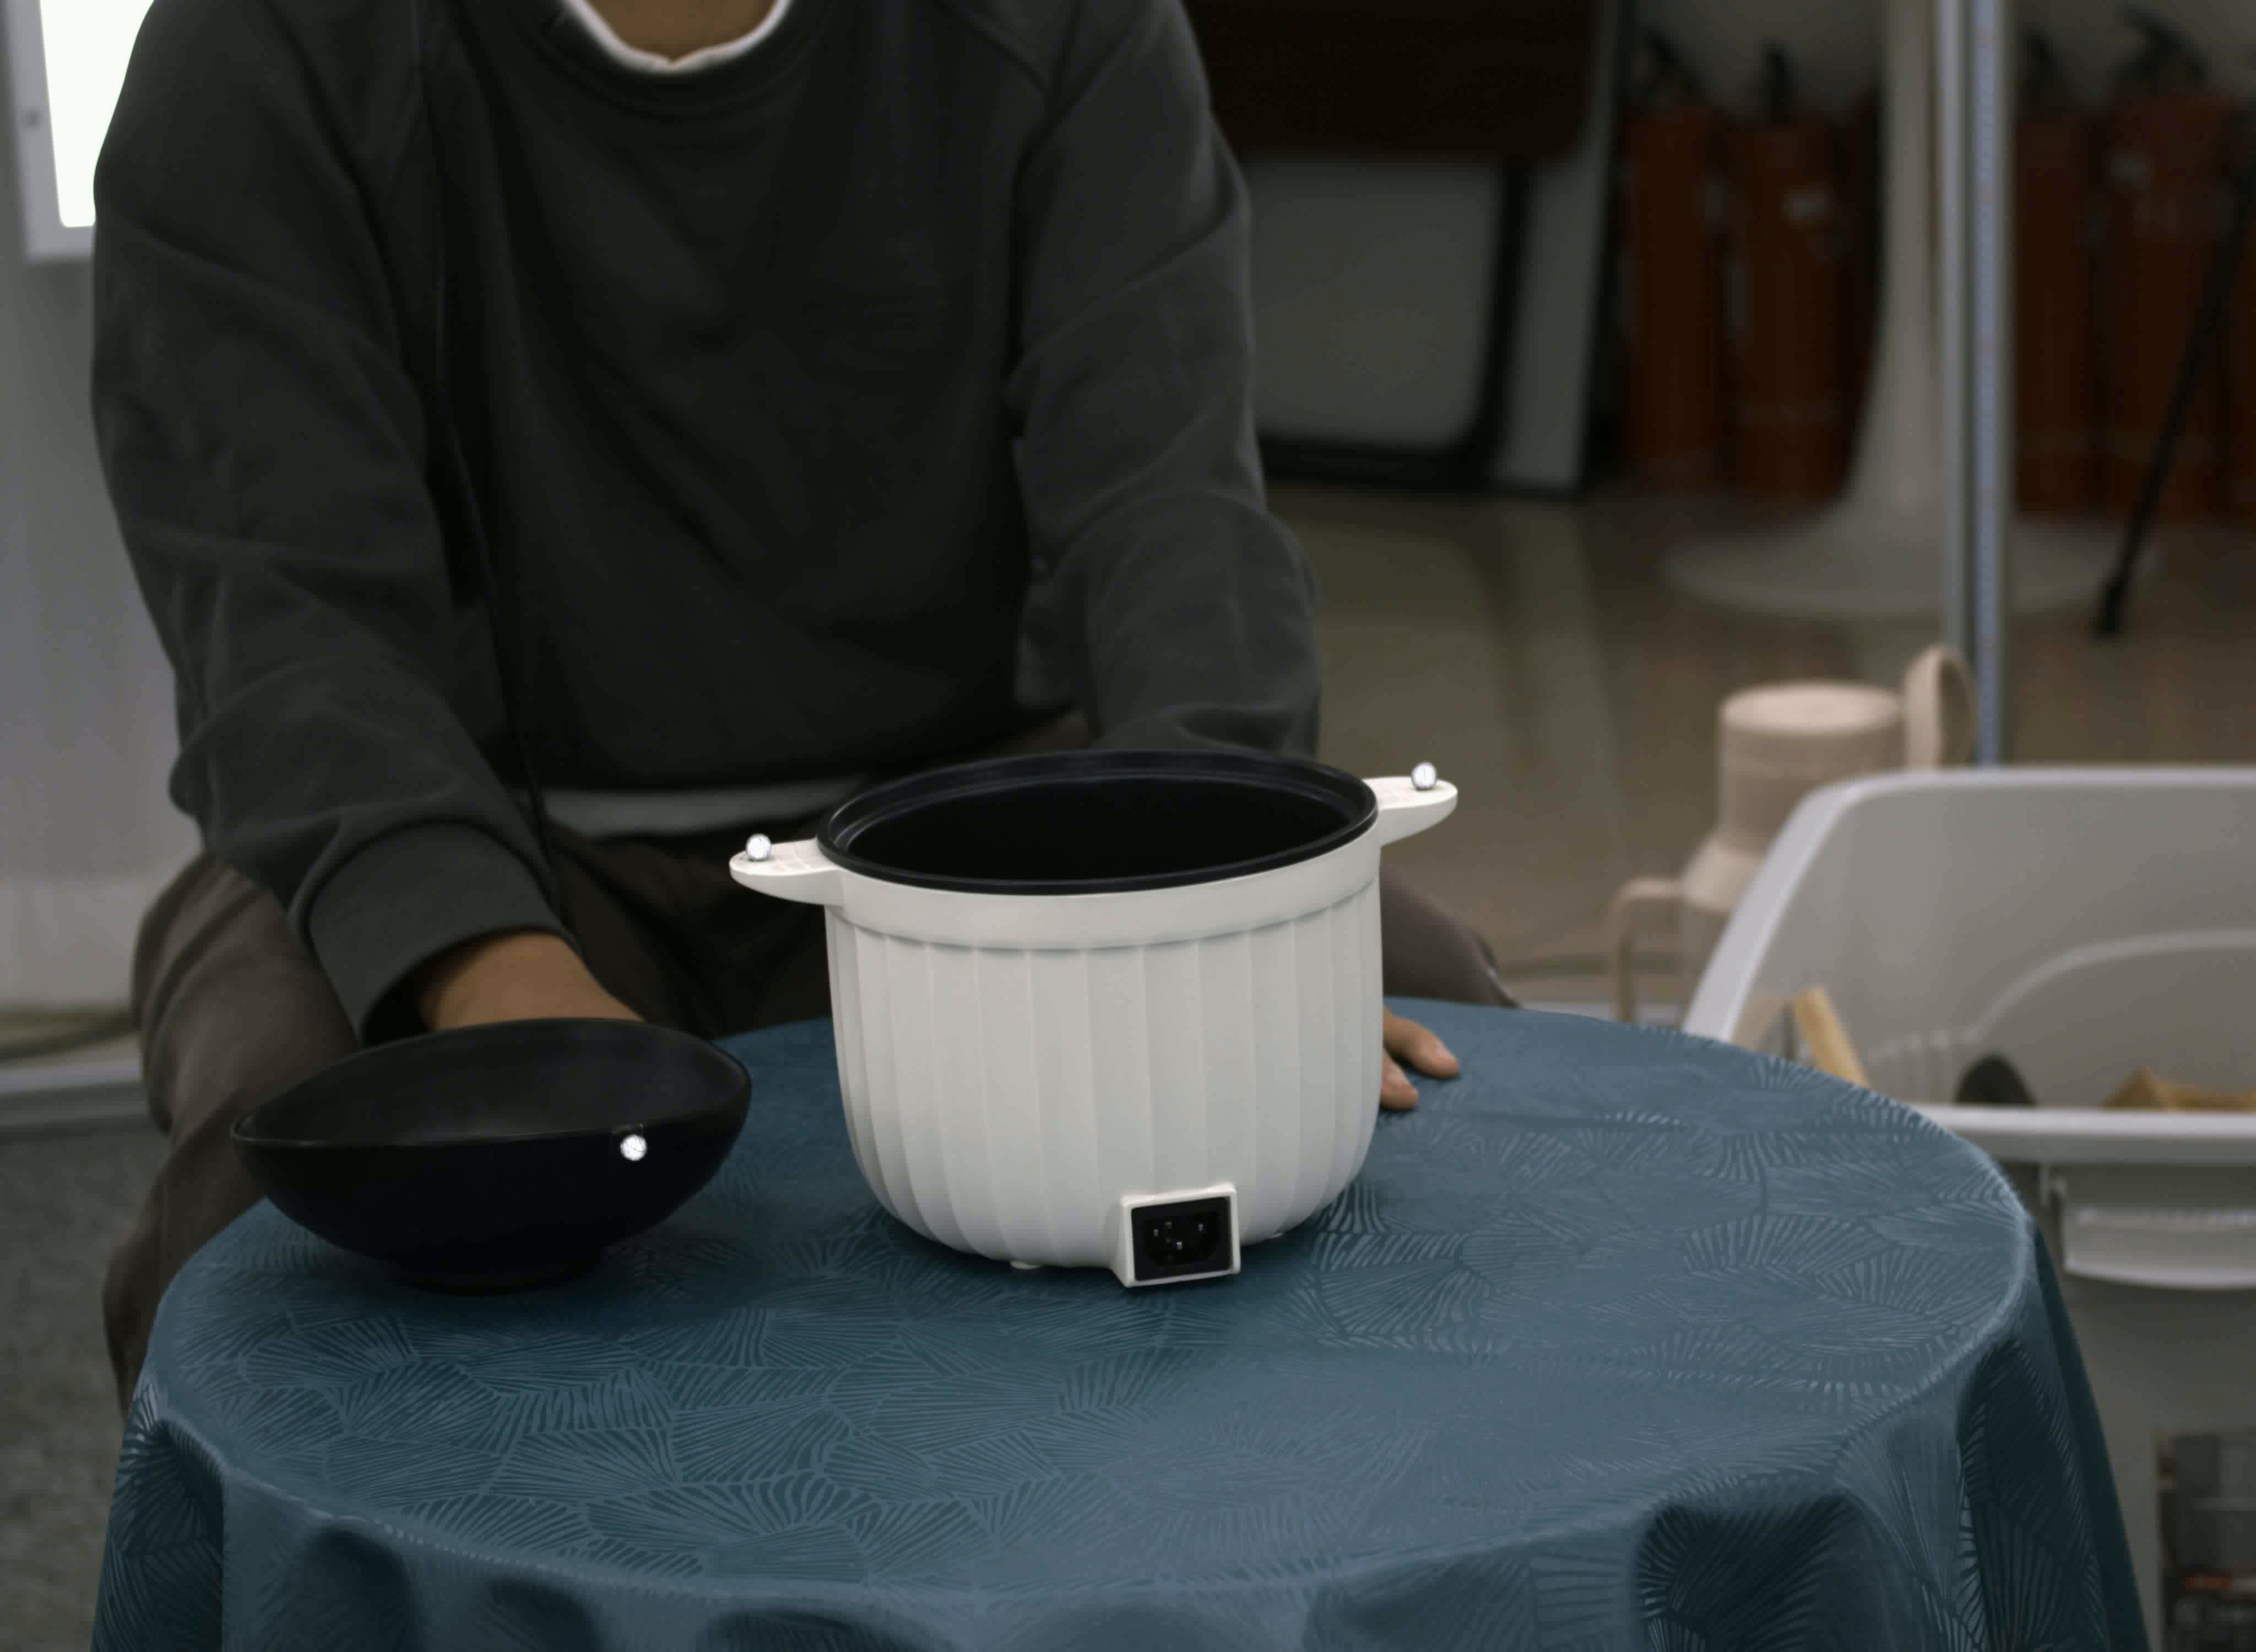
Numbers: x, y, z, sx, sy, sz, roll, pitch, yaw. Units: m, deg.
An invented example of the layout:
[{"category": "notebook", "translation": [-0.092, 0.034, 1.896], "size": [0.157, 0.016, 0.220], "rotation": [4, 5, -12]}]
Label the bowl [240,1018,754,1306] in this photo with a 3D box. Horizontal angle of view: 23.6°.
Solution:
[{"category": "bowl", "translation": [-0.201, 0.113, 1.733], "size": [0.169, 0.067, 0.137], "rotation": [-3, 13, 7]}]

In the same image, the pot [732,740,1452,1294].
[{"category": "pot", "translation": [-0.009, 0.059, 1.741], "size": [0.236, 0.144, 0.192], "rotation": [-6, 17, -13]}]
